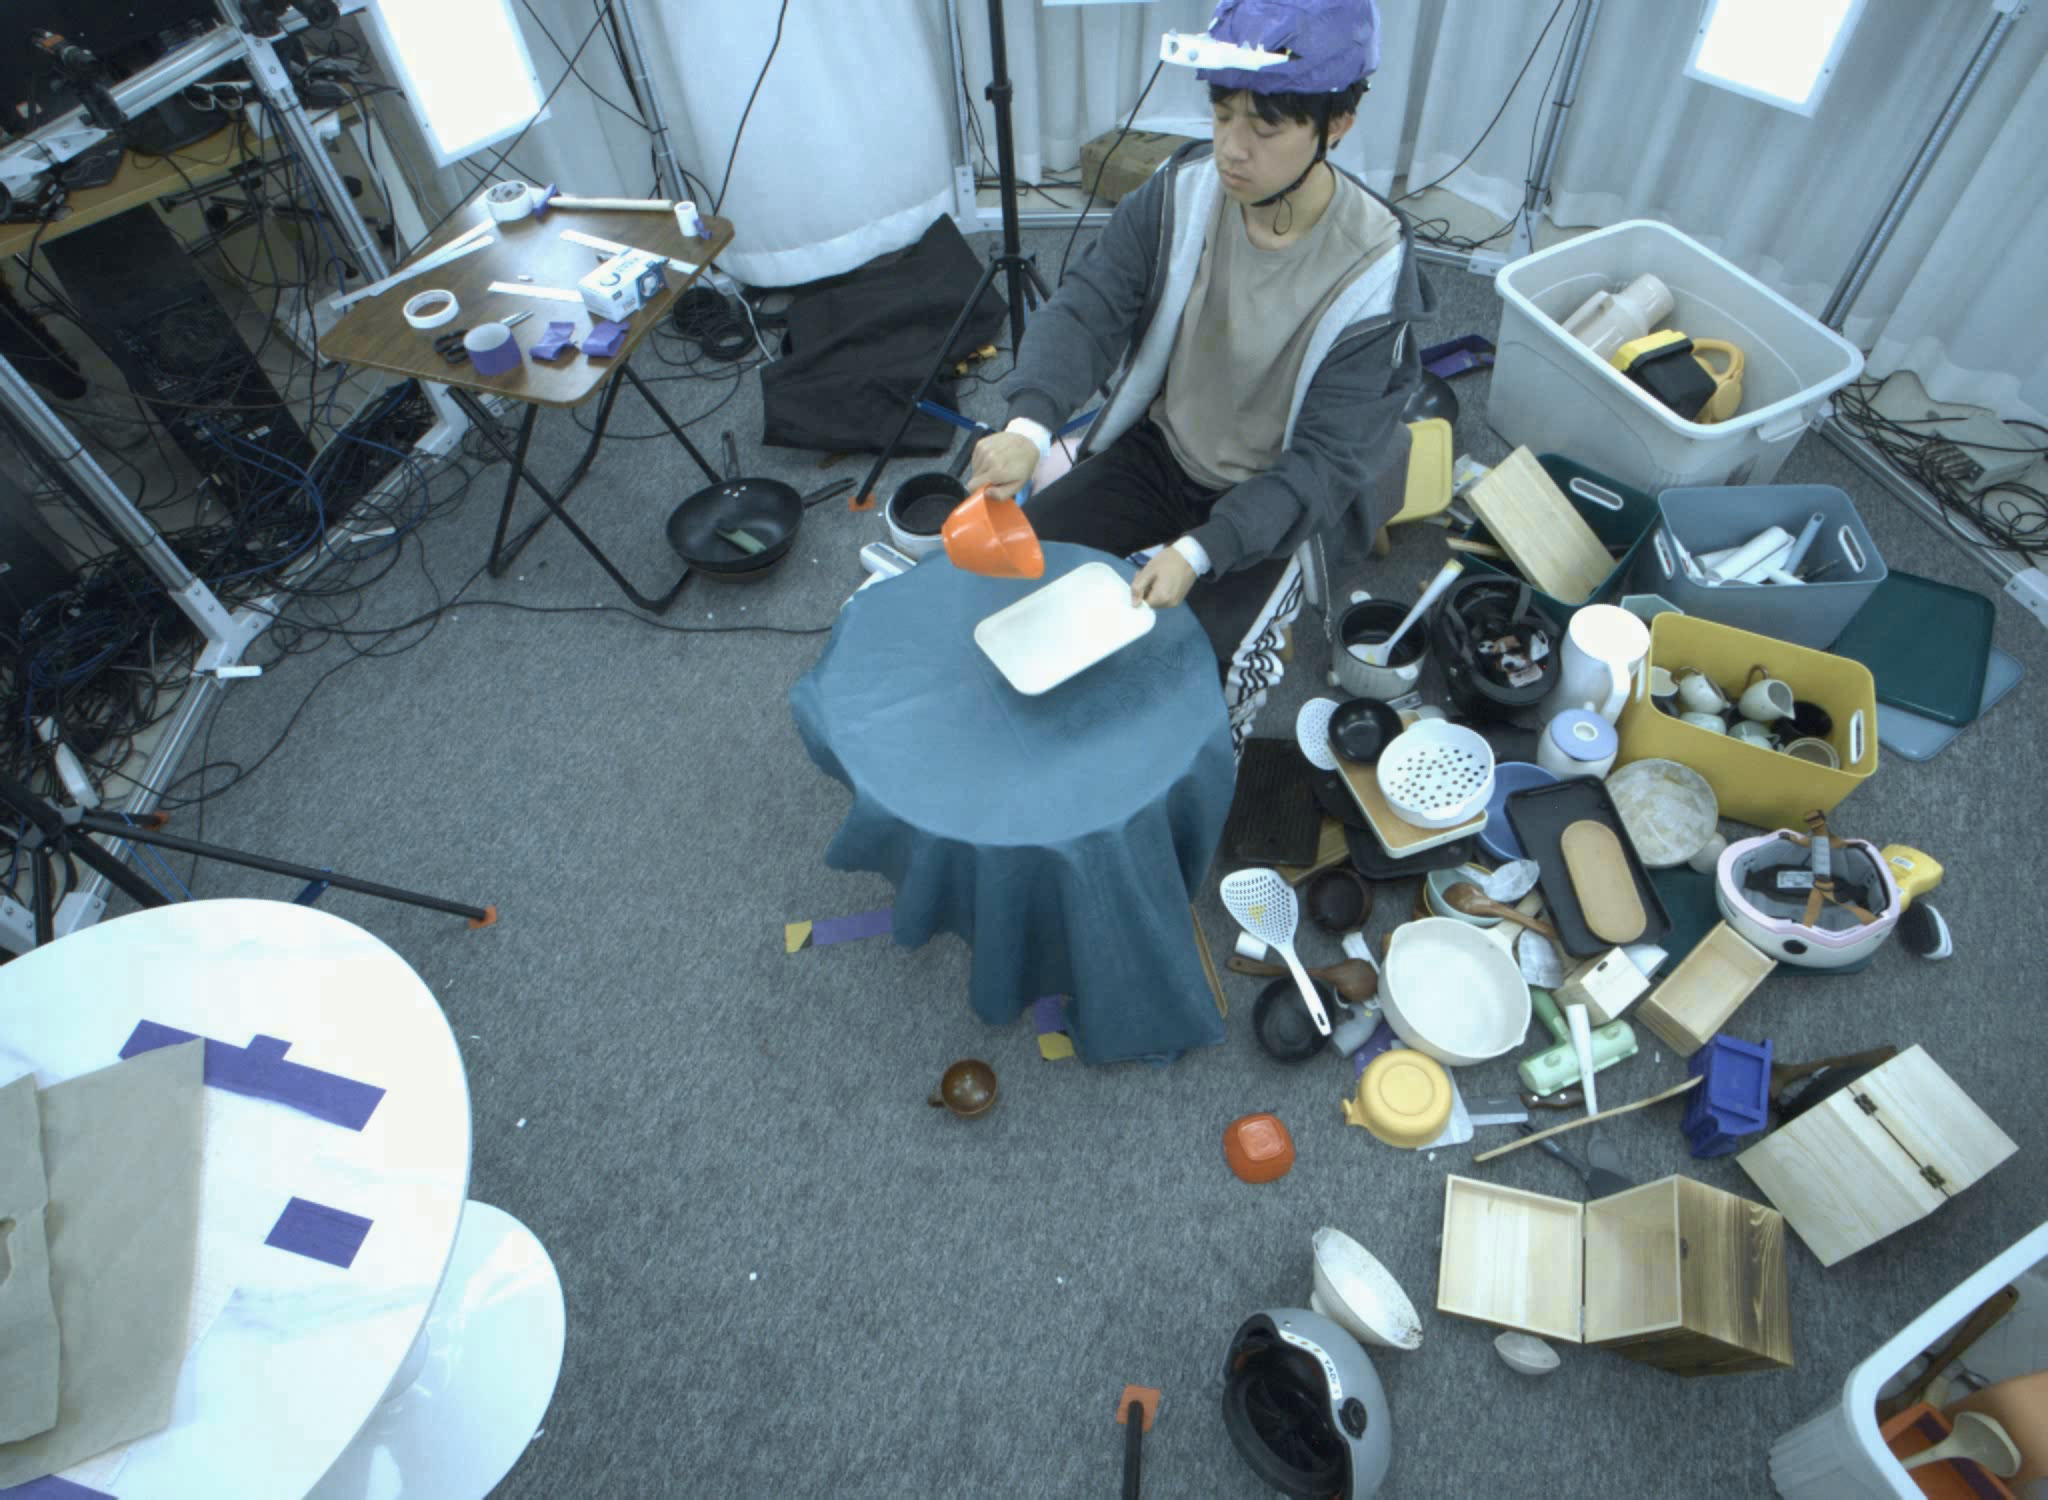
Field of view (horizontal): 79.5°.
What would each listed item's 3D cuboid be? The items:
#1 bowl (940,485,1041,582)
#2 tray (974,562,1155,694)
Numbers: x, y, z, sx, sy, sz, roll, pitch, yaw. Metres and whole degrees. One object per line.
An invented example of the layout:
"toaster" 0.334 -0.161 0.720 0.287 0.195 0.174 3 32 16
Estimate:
"bowl" -0.053 -0.293 1.721 0.103 0.151 0.146 -15 53 17
"tray" 0.060 -0.180 1.808 0.241 0.018 0.168 -30 56 -14
